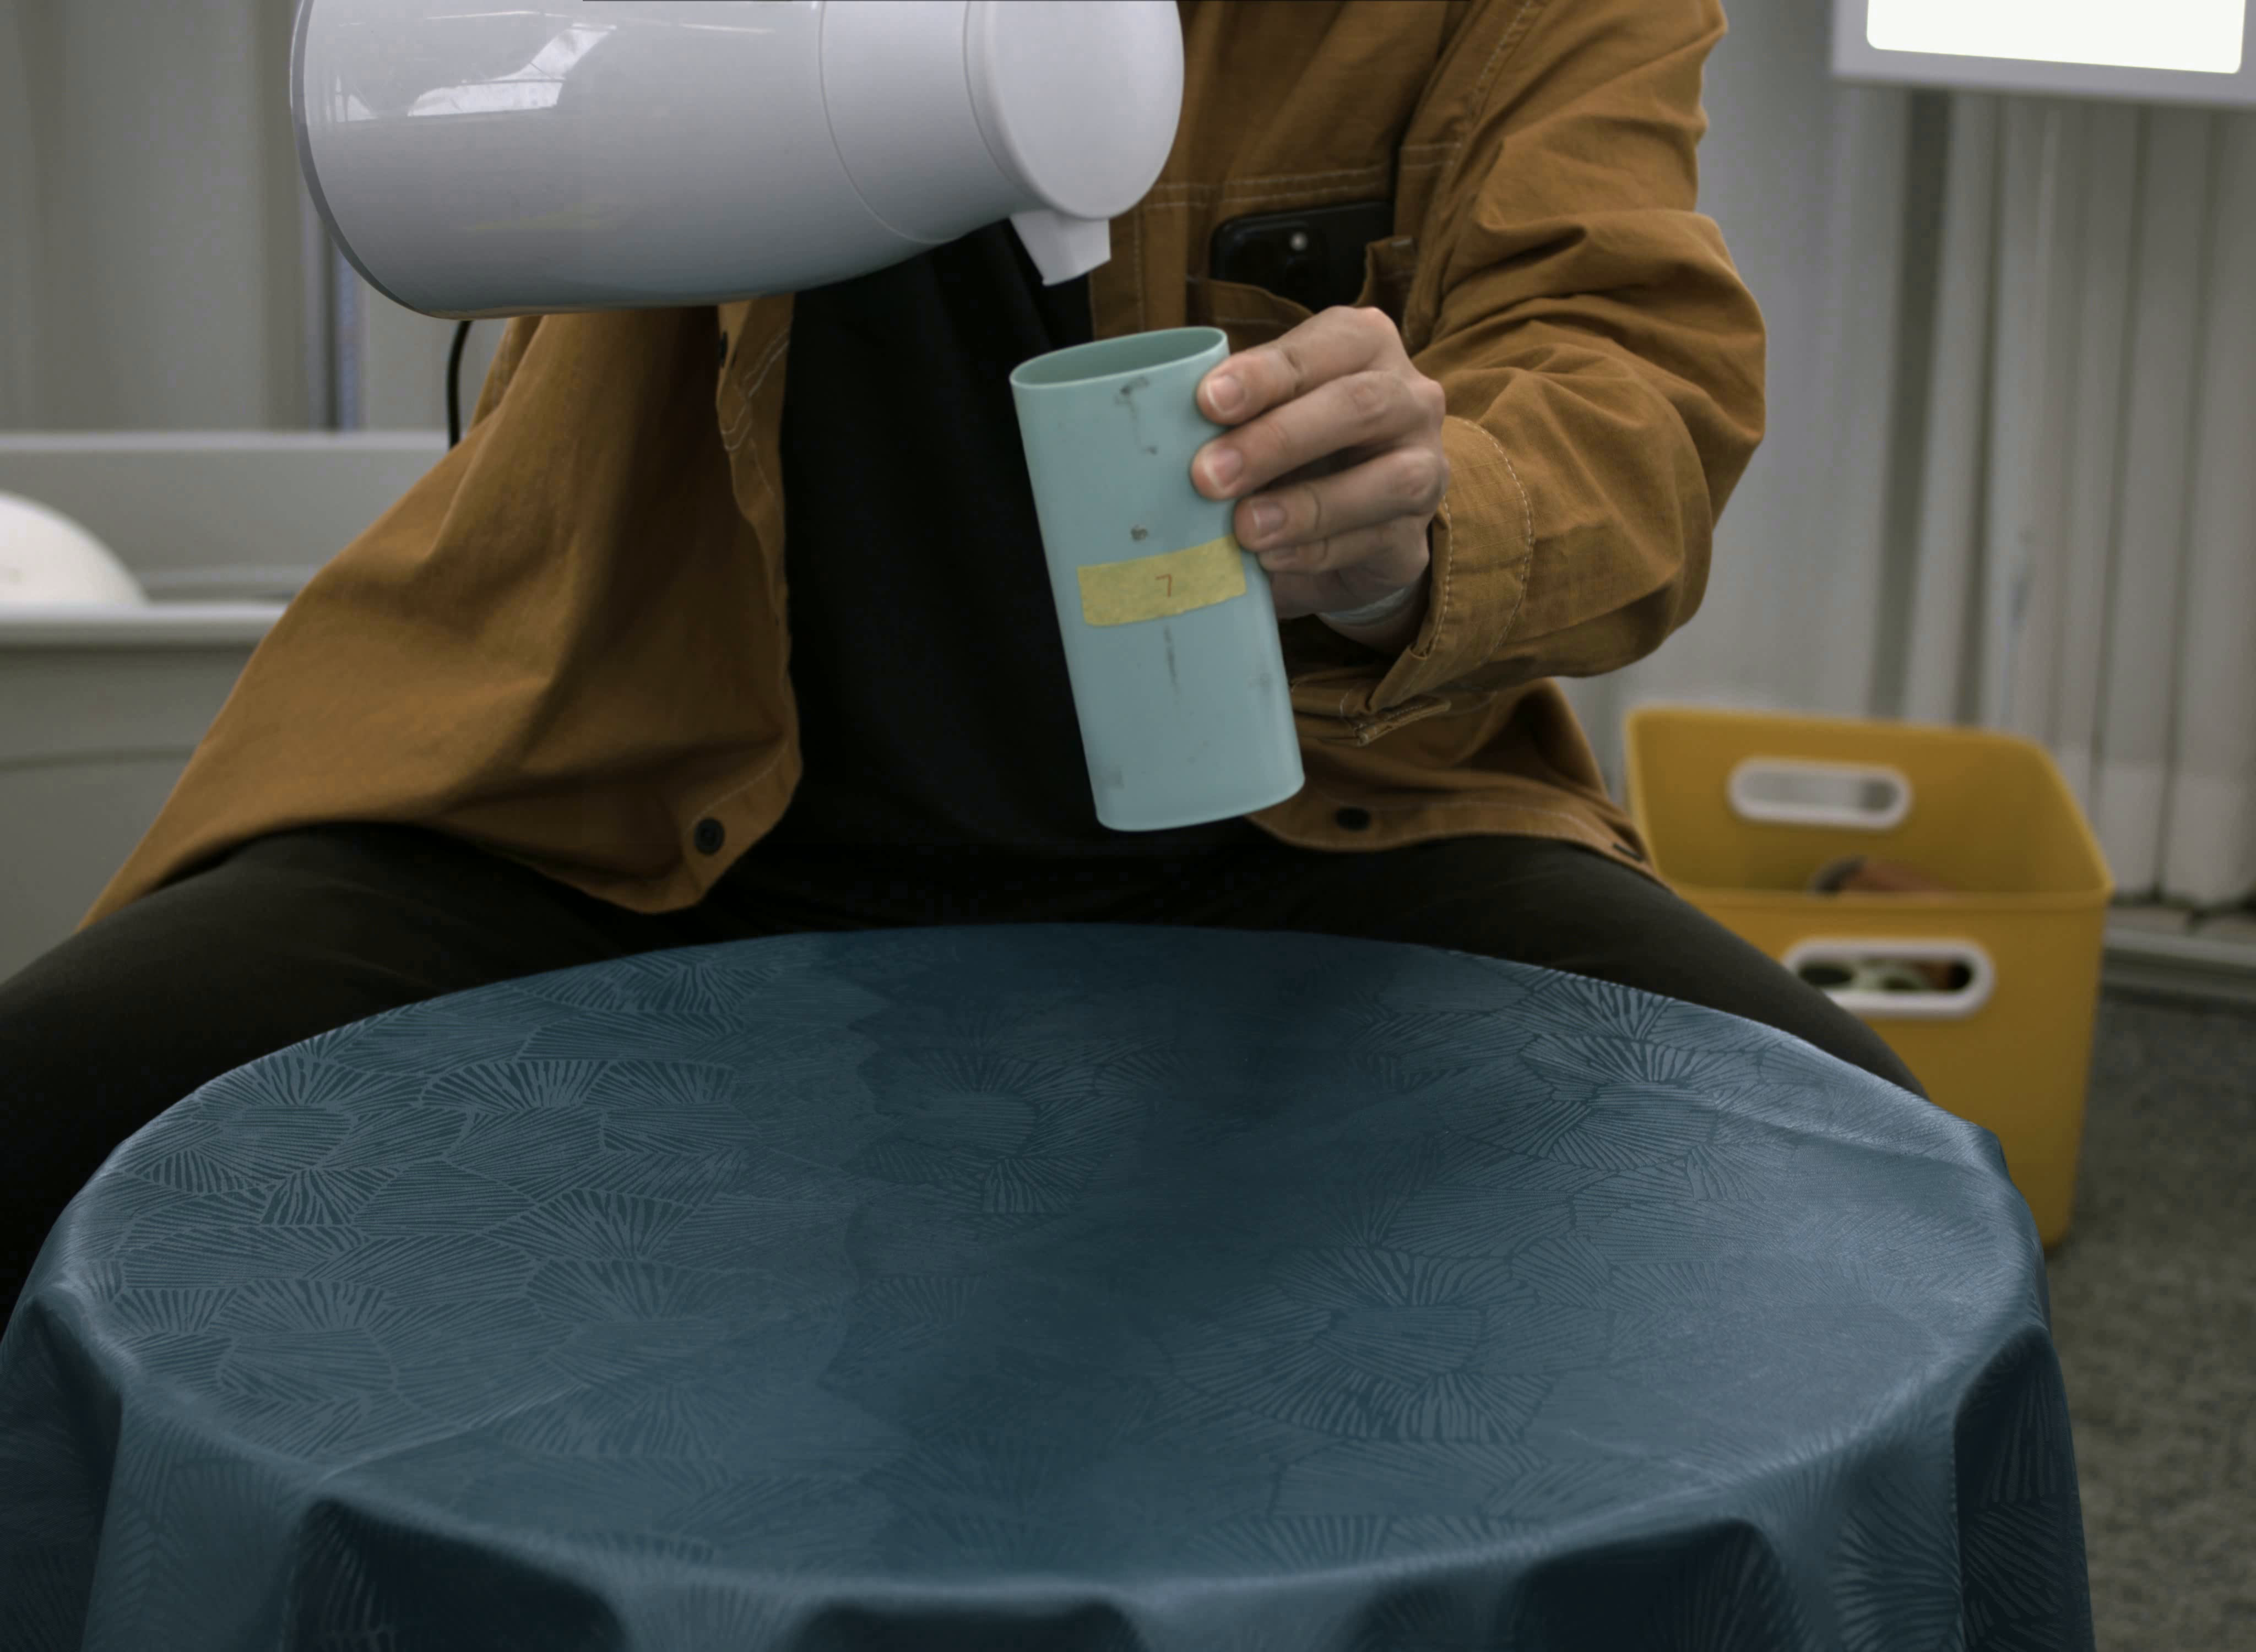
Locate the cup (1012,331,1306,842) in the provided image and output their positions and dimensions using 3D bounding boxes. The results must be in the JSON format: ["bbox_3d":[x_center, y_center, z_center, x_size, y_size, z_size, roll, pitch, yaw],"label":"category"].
[{"bbox_3d":[0.010,-0.069,1.483,0.066,0.133,0.066,-10,16,3],"label":"cup"}]

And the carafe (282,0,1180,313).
[{"bbox_3d":[-0.111,-0.233,1.491,0.246,0.169,0.132,2,24,35],"label":"carafe"}]
